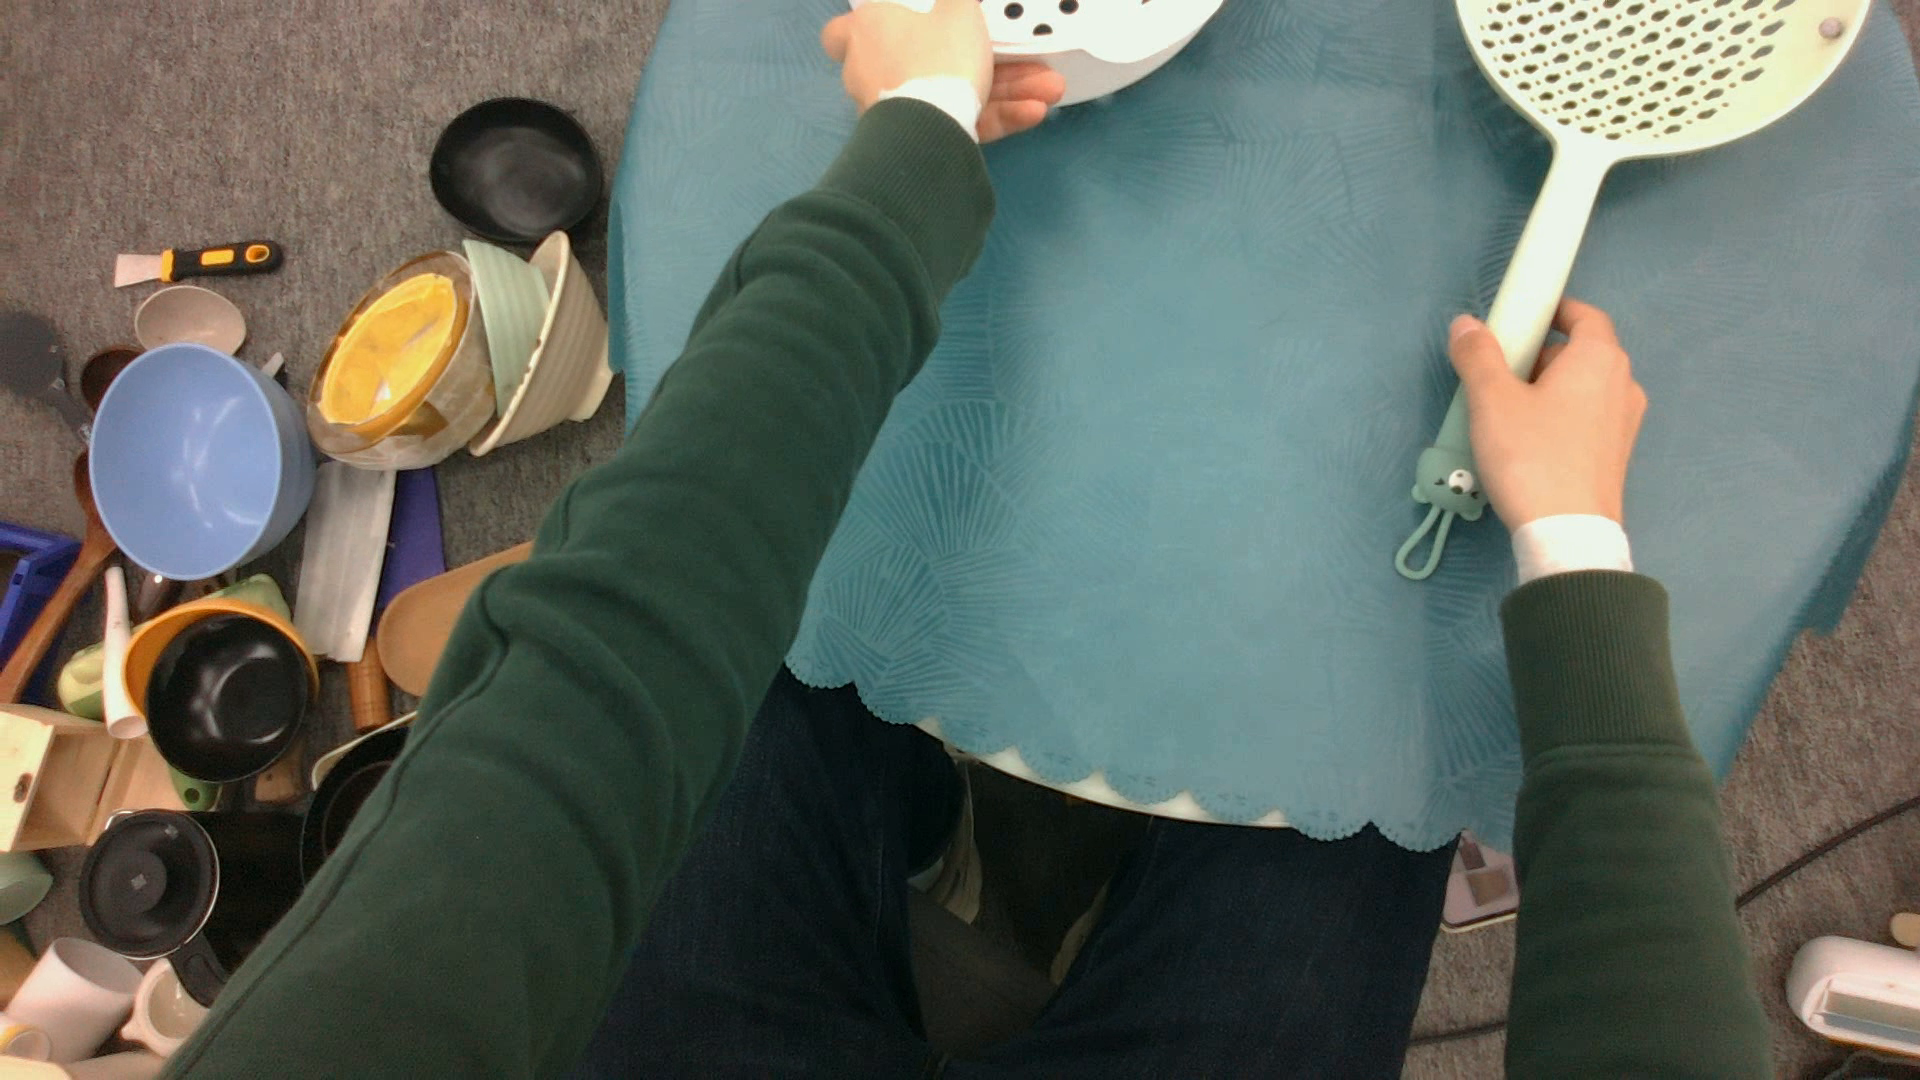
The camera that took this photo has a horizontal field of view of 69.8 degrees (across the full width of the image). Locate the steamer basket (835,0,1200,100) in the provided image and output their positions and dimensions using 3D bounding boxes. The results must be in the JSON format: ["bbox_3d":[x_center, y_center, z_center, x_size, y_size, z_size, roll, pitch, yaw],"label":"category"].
[{"bbox_3d":[0.026,-0.305,0.644,0.202,0.069,0.231,-34,77,-4],"label":"steamer basket"}]

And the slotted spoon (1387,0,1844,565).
[{"bbox_3d":[0.256,-0.160,0.592,0.169,0.075,0.359,21,79,10],"label":"slotted spoon"}]
